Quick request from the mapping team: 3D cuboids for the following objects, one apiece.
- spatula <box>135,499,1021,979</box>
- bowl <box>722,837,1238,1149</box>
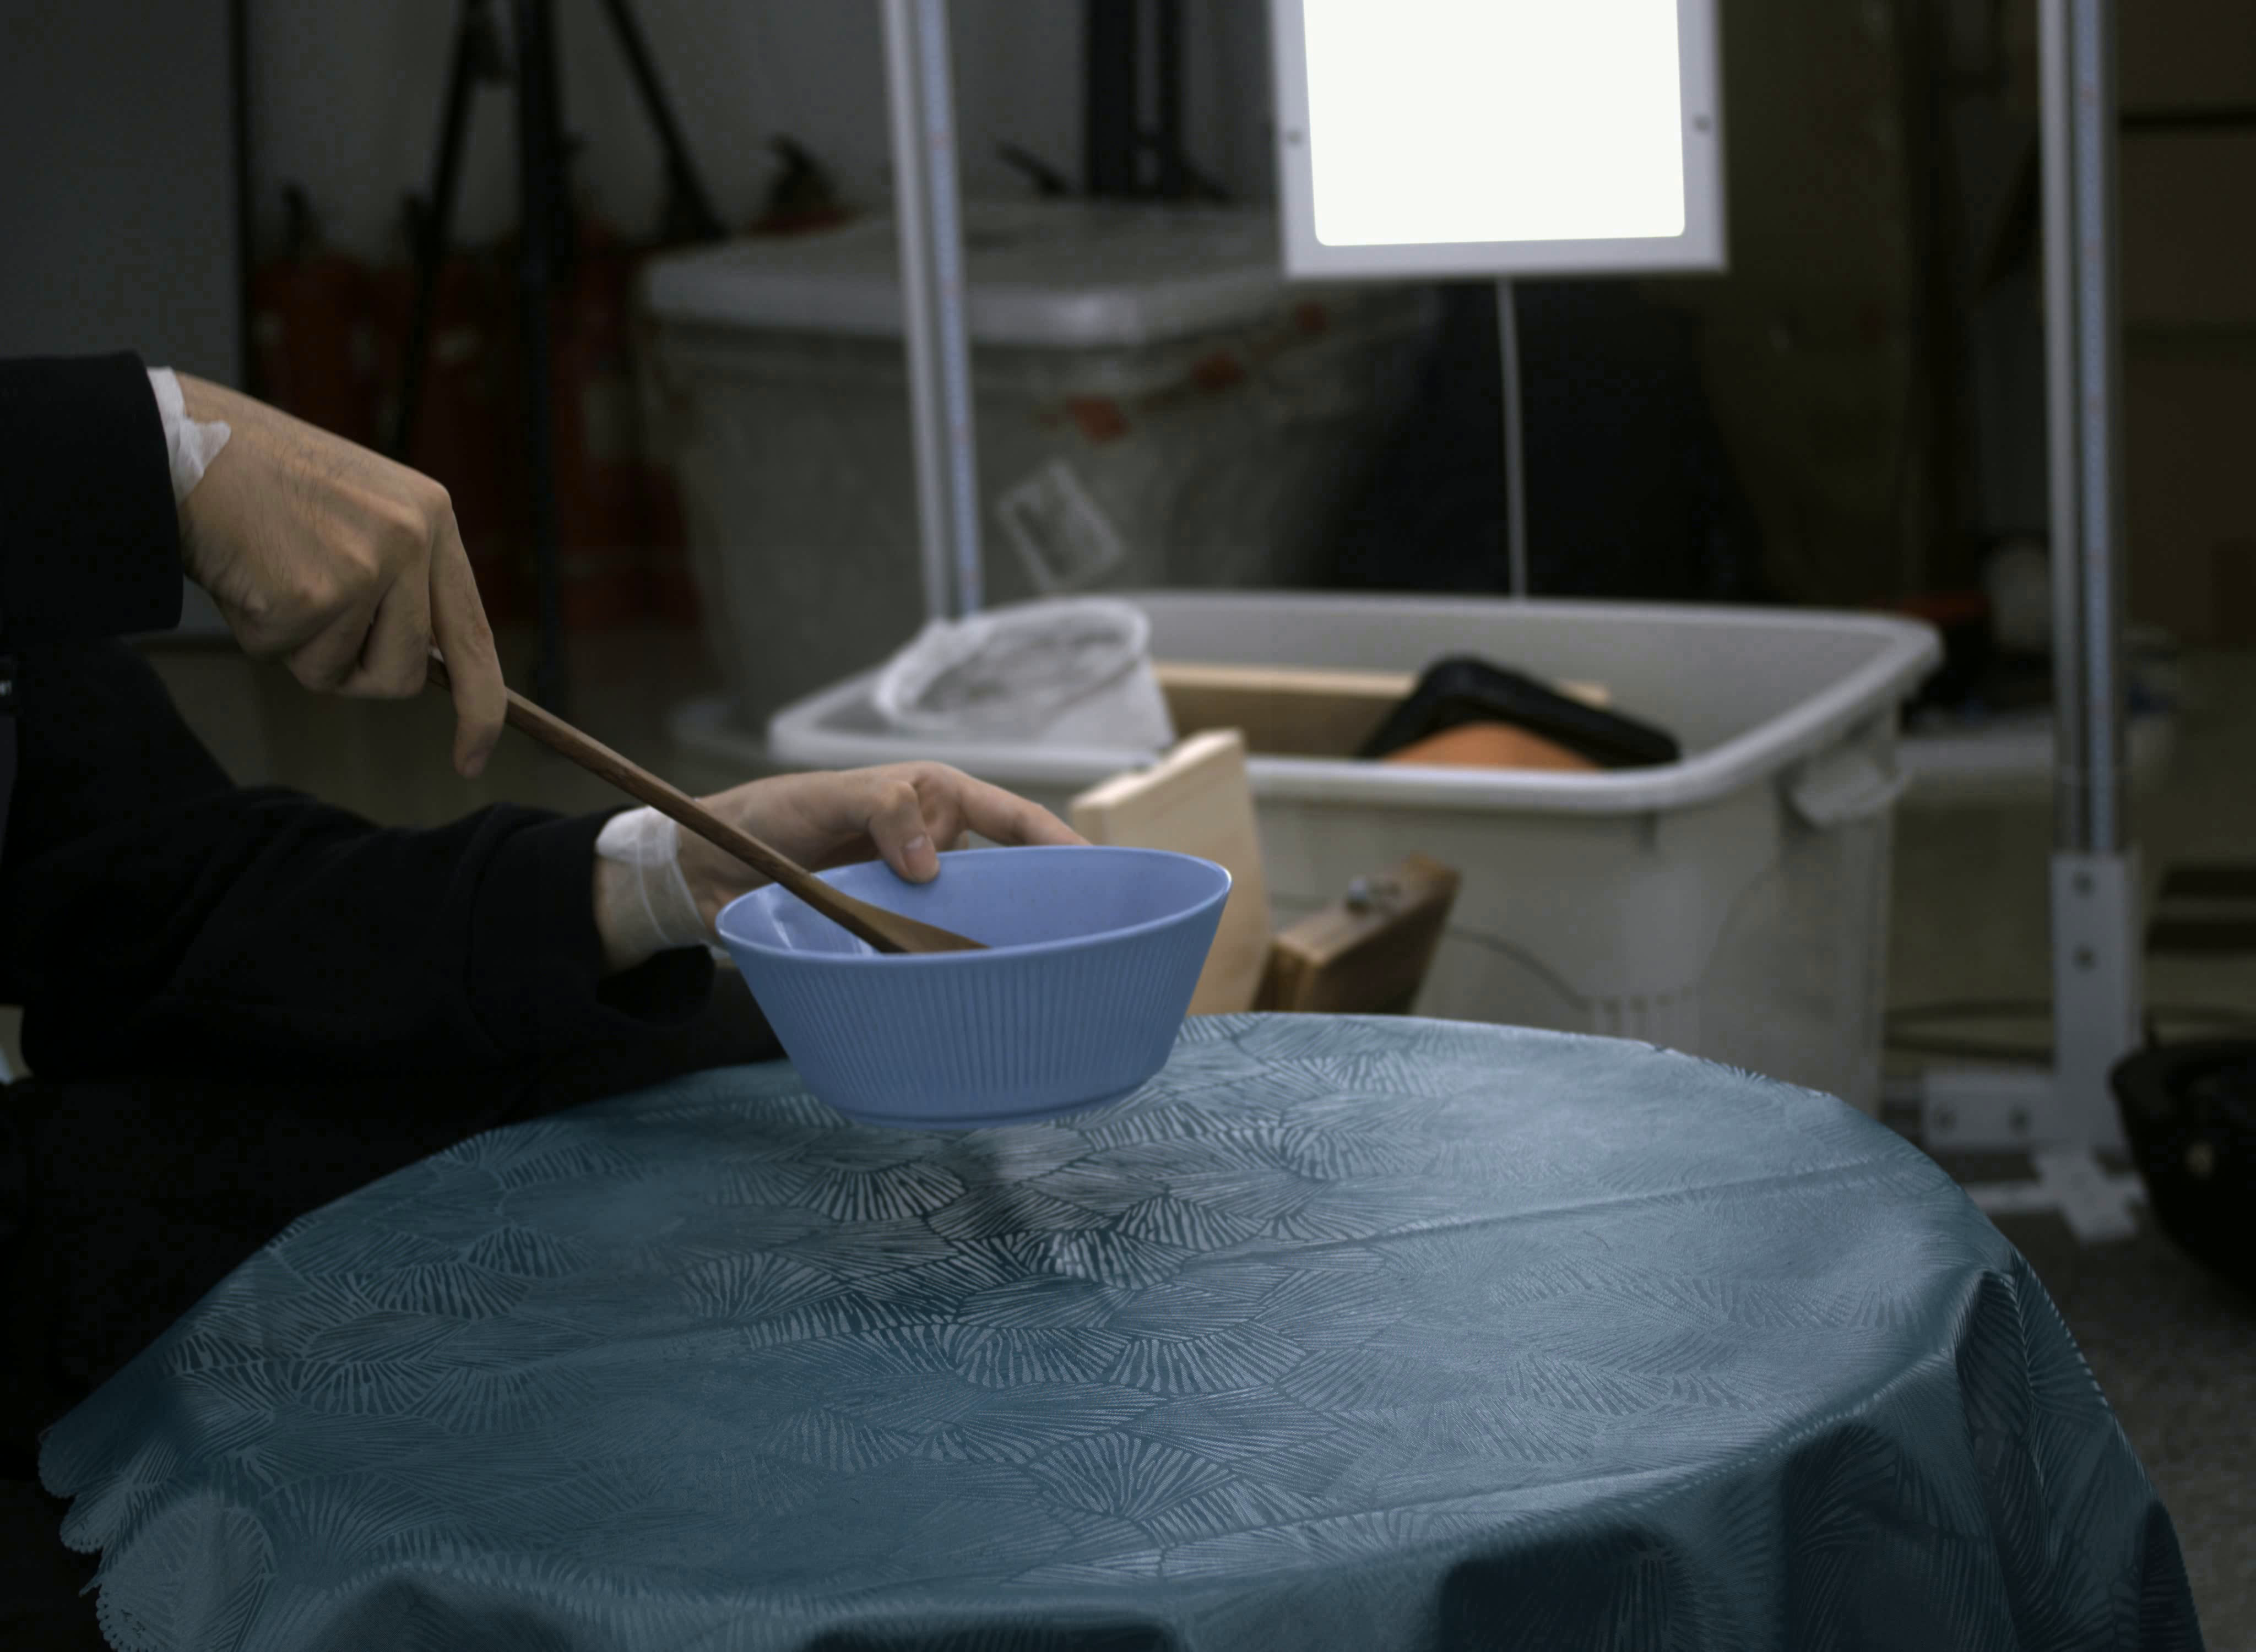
[{"bbox_3d":[-0.158,-0.013,1.825,0.381,0.016,0.096,31,7,-17],"label":"spatula"},{"bbox_3d":[-0.047,0.059,1.863,0.175,0.070,0.176,-6,15,0],"label":"bowl"}]
